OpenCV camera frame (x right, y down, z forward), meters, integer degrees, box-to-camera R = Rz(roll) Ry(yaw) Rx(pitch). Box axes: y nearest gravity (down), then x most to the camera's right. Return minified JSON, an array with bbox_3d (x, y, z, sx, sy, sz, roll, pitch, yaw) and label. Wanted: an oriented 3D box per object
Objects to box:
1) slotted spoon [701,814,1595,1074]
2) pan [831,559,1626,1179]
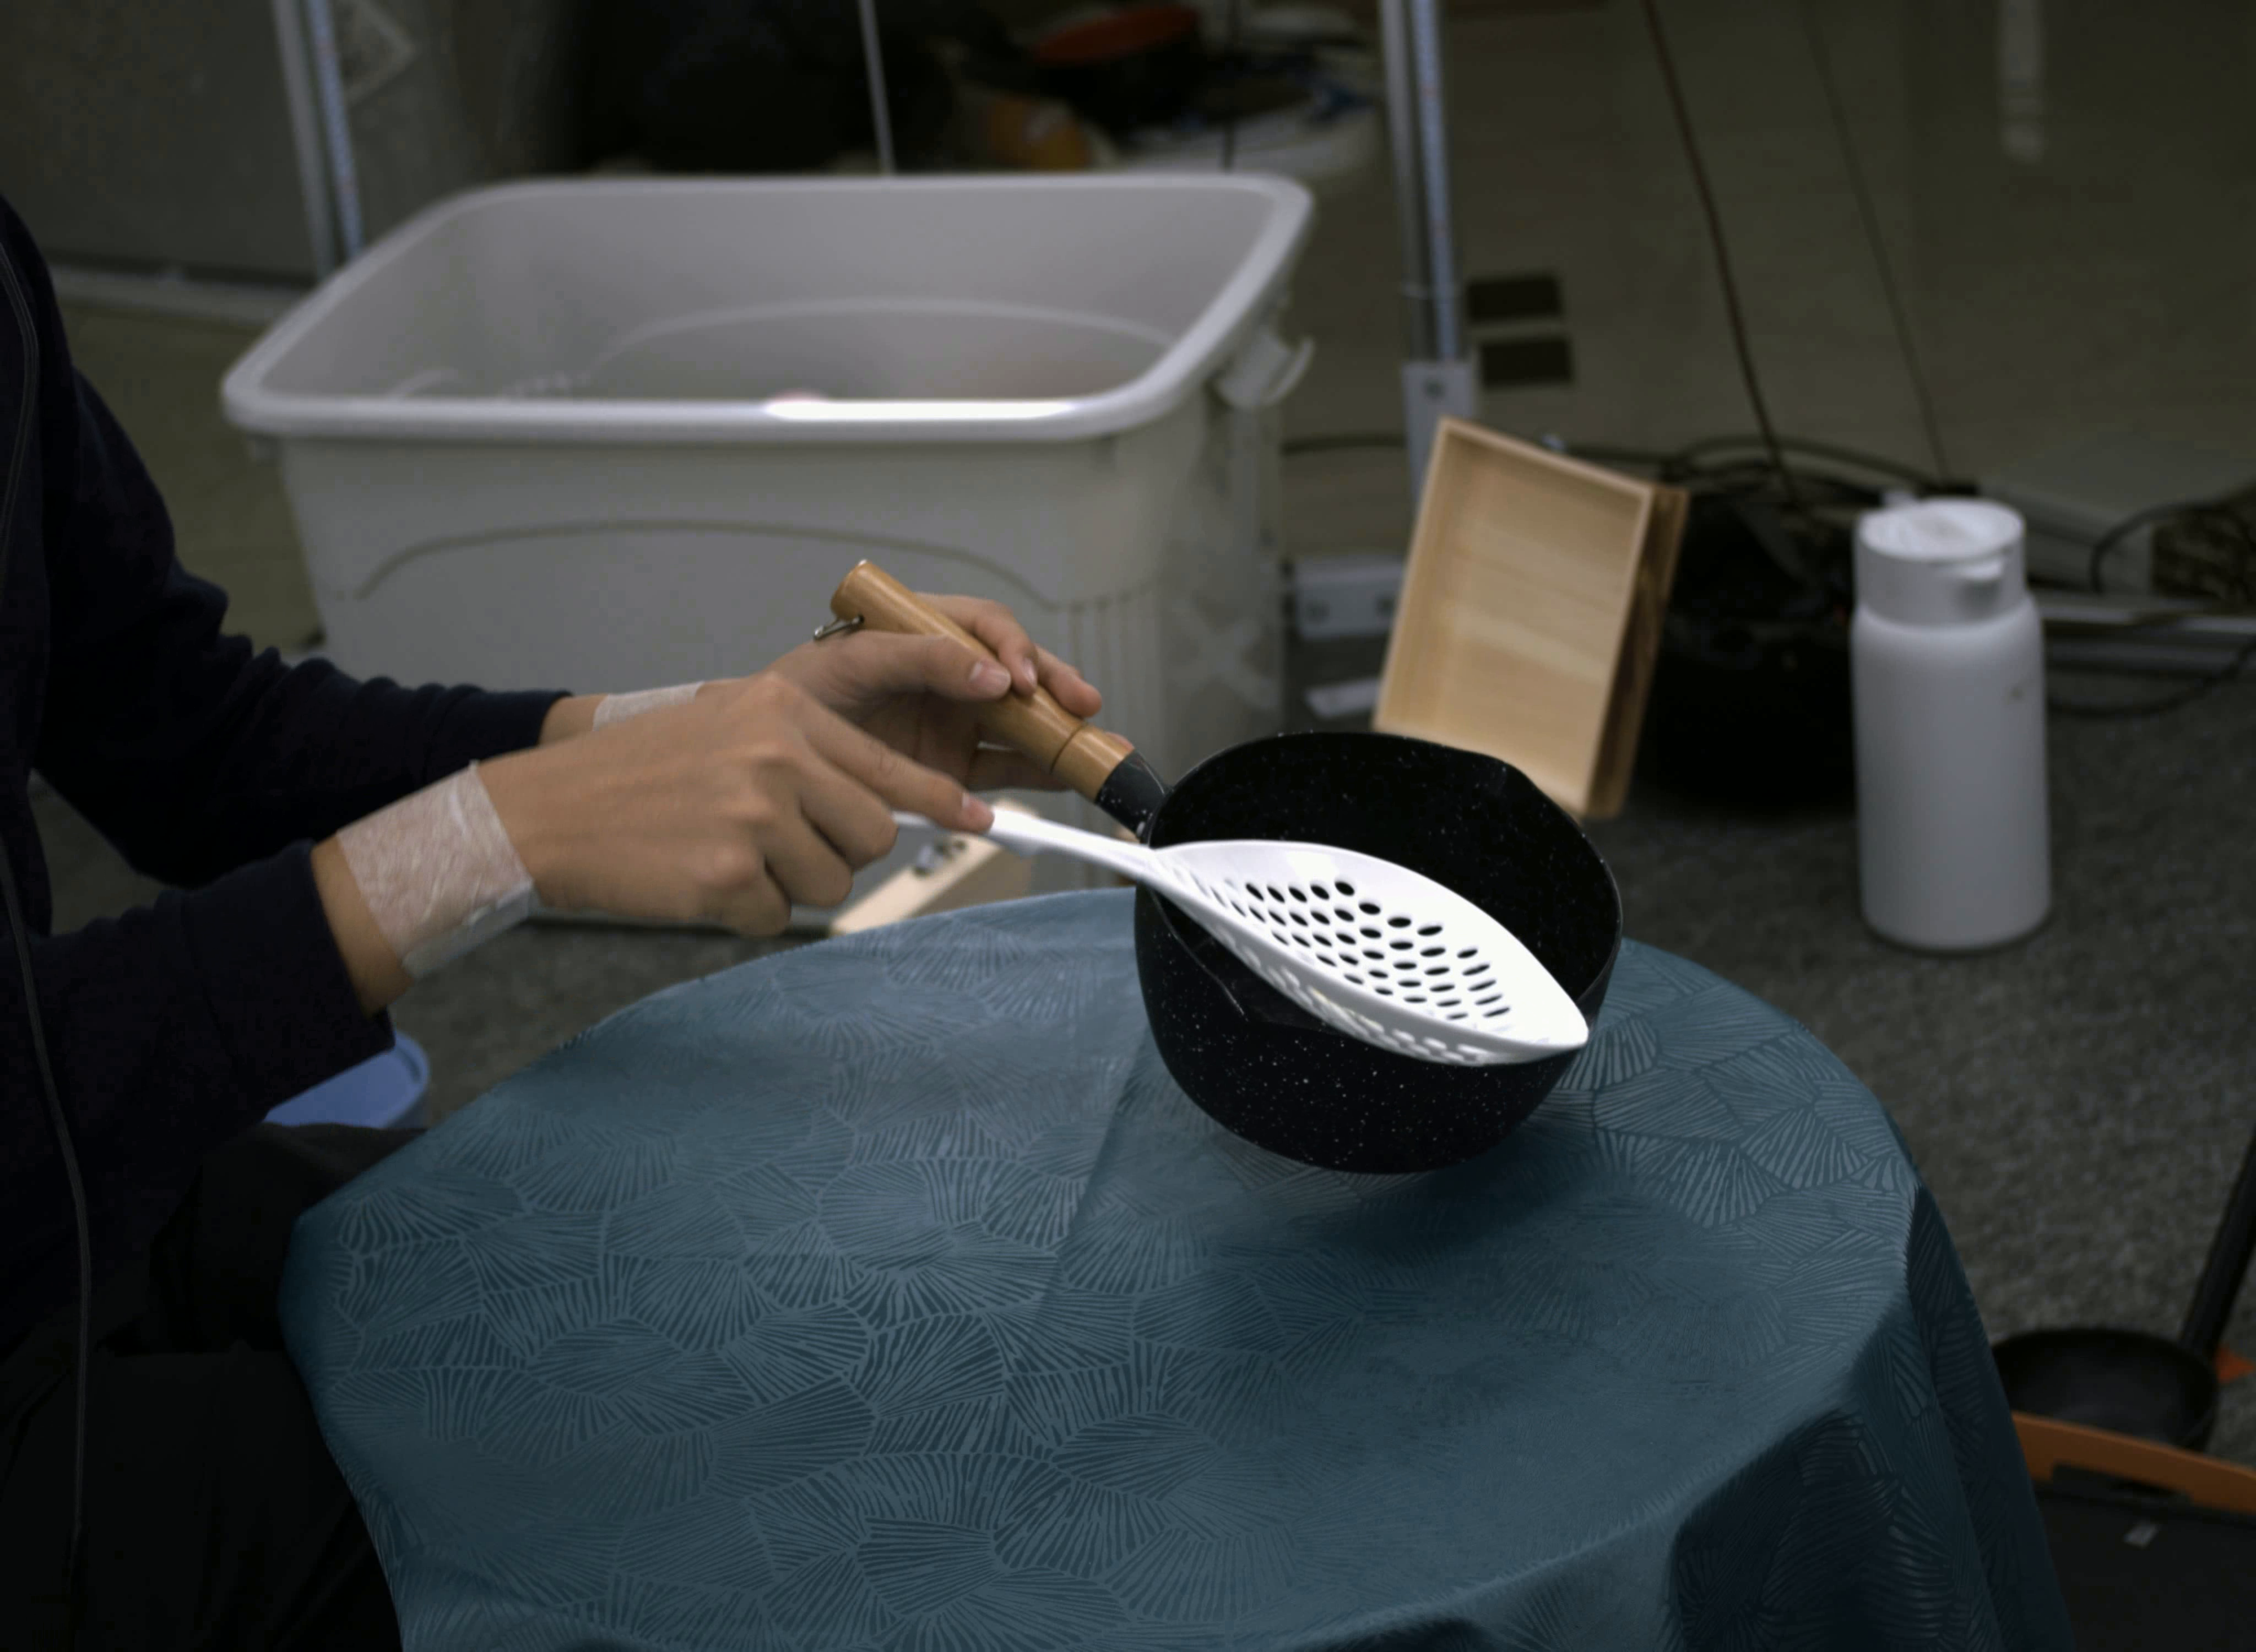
[{"bbox_3d":[0.008,0.028,1.952,0.350,0.051,0.134,19,21,-33],"label":"slotted spoon"},{"bbox_3d":[0.024,0.011,2.174,0.341,0.110,0.205,27,43,17],"label":"pan"}]
